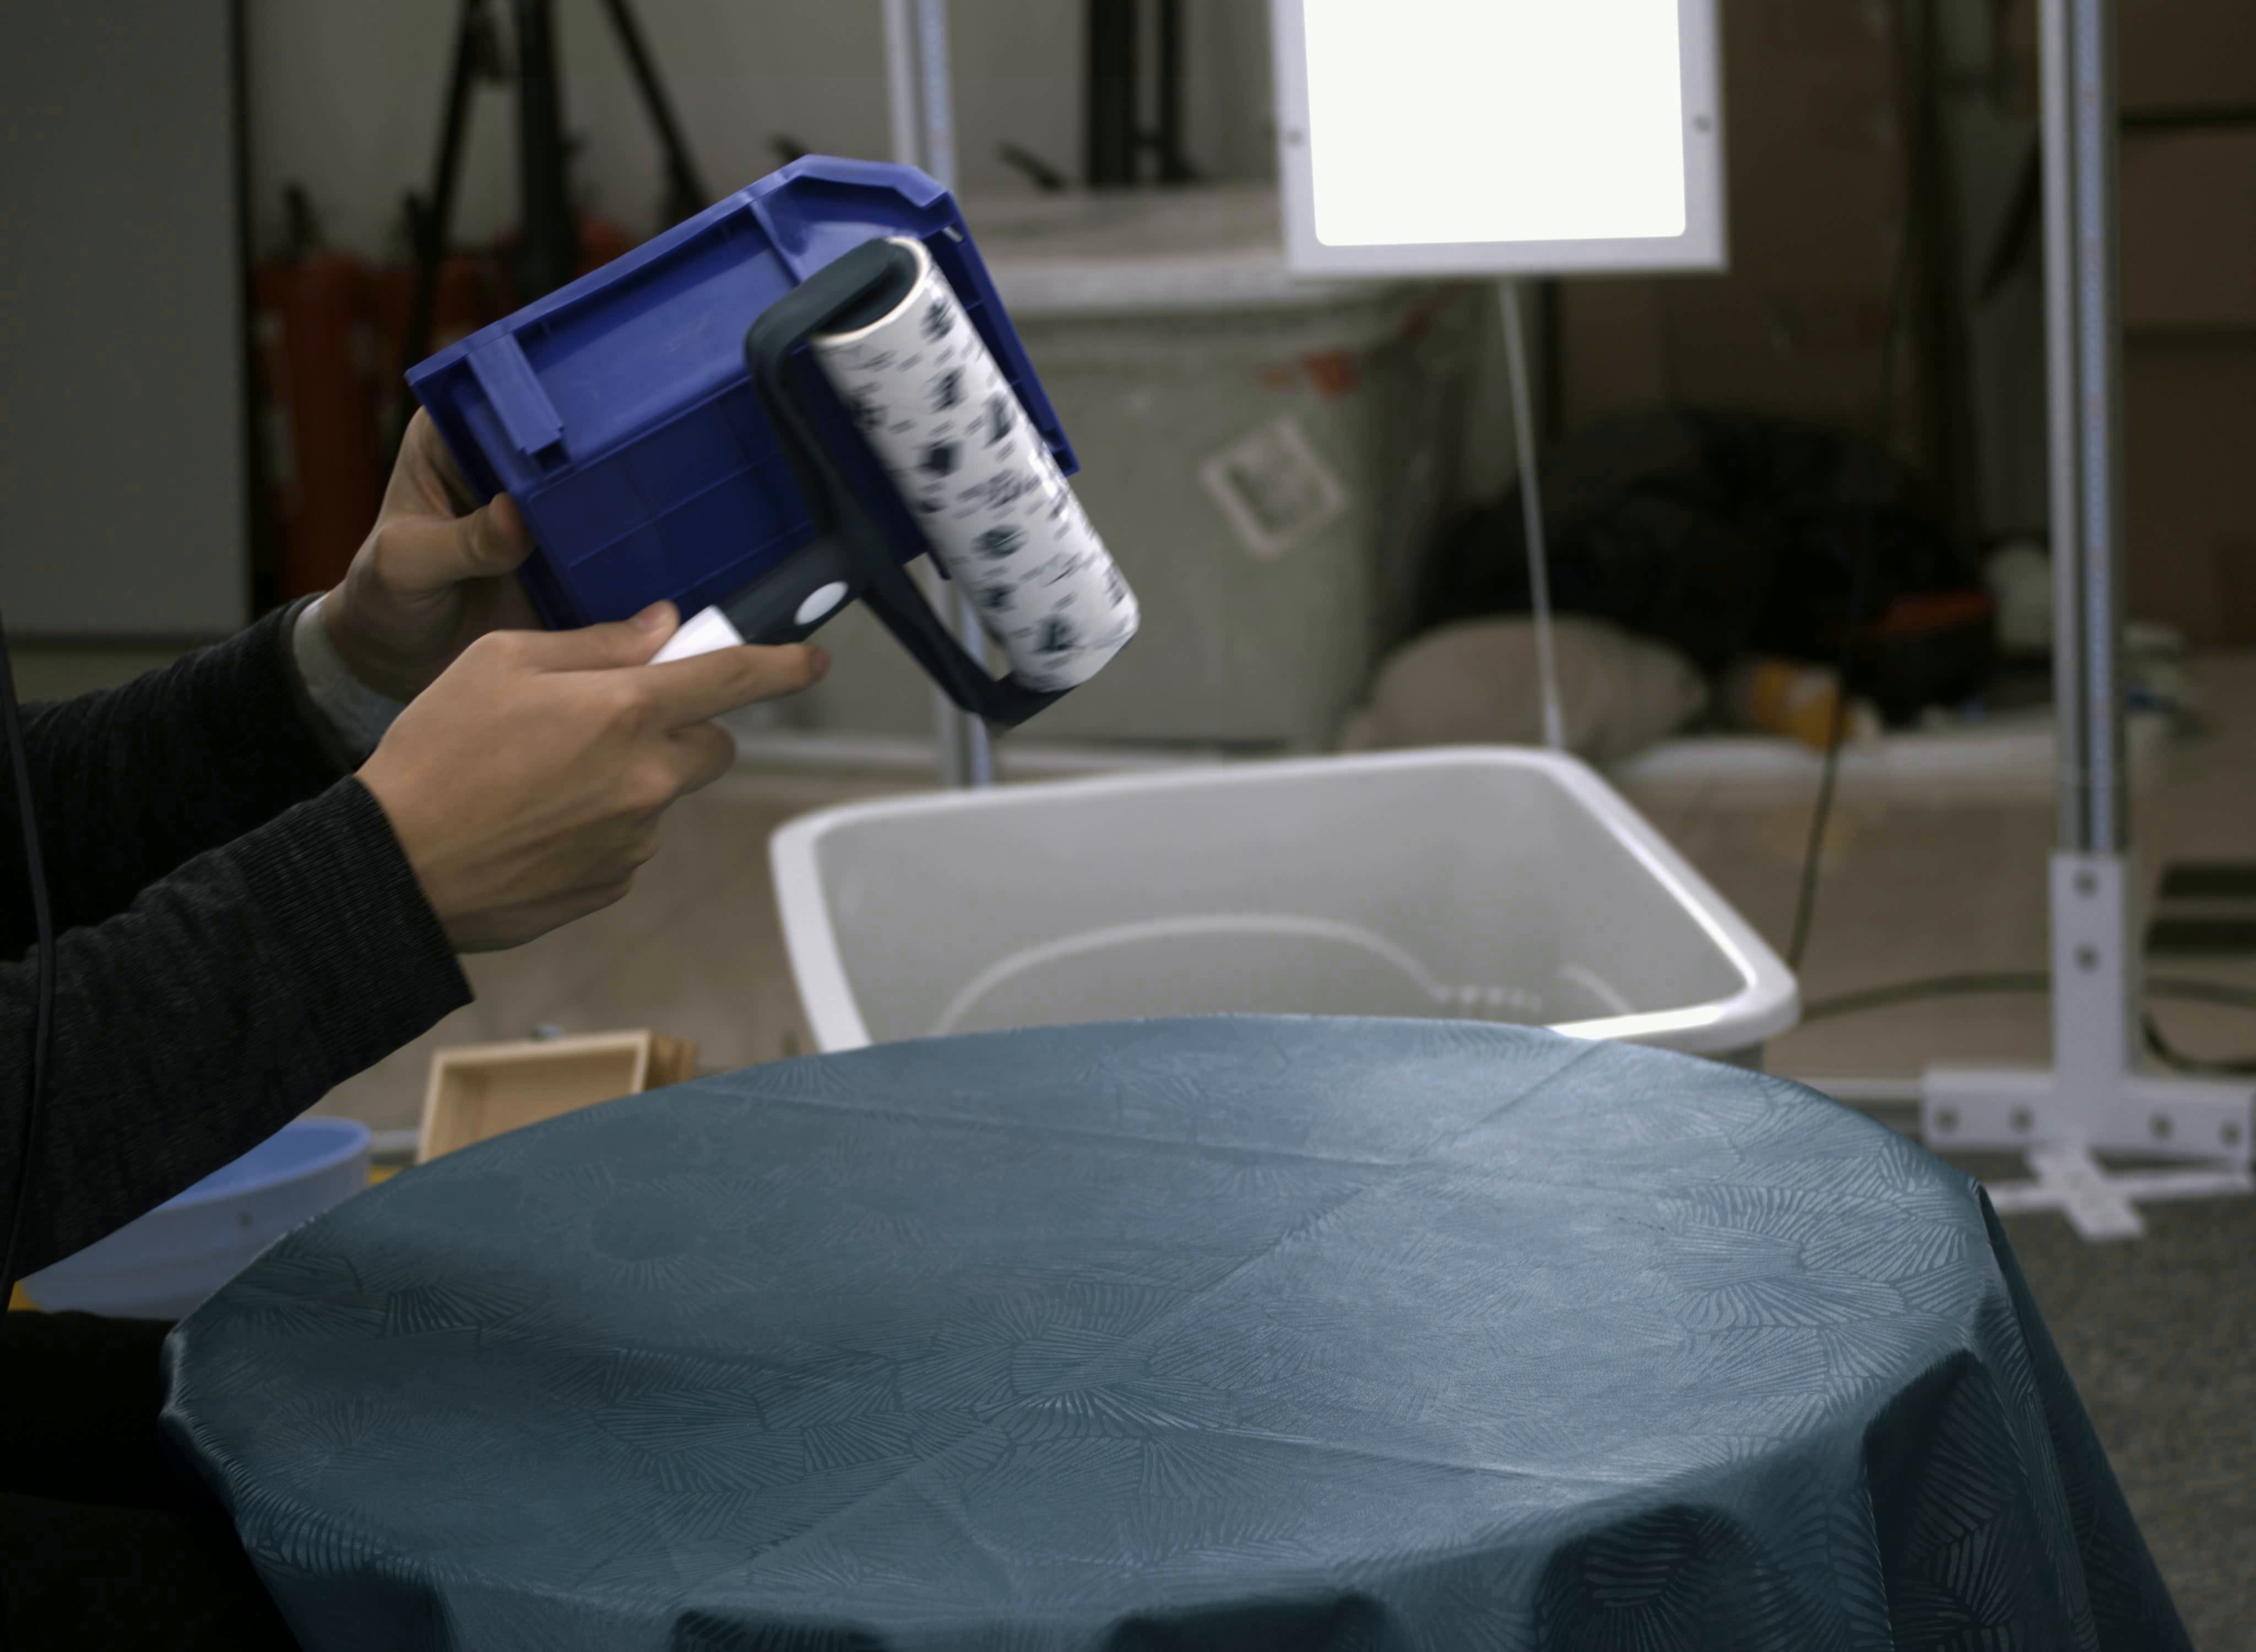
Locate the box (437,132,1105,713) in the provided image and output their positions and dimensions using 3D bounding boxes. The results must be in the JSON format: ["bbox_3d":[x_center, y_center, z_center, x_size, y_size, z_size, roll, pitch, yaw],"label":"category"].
[{"bbox_3d":[-0.112,-0.134,1.797,0.179,0.123,0.082,-31,37,-3],"label":"box"}]

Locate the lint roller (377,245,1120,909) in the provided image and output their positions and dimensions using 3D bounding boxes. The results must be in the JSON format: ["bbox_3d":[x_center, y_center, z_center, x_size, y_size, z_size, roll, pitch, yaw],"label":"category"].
[{"bbox_3d":[-0.132,-0.049,1.744,0.246,0.174,0.051,-39,39,-5],"label":"lint roller"}]
